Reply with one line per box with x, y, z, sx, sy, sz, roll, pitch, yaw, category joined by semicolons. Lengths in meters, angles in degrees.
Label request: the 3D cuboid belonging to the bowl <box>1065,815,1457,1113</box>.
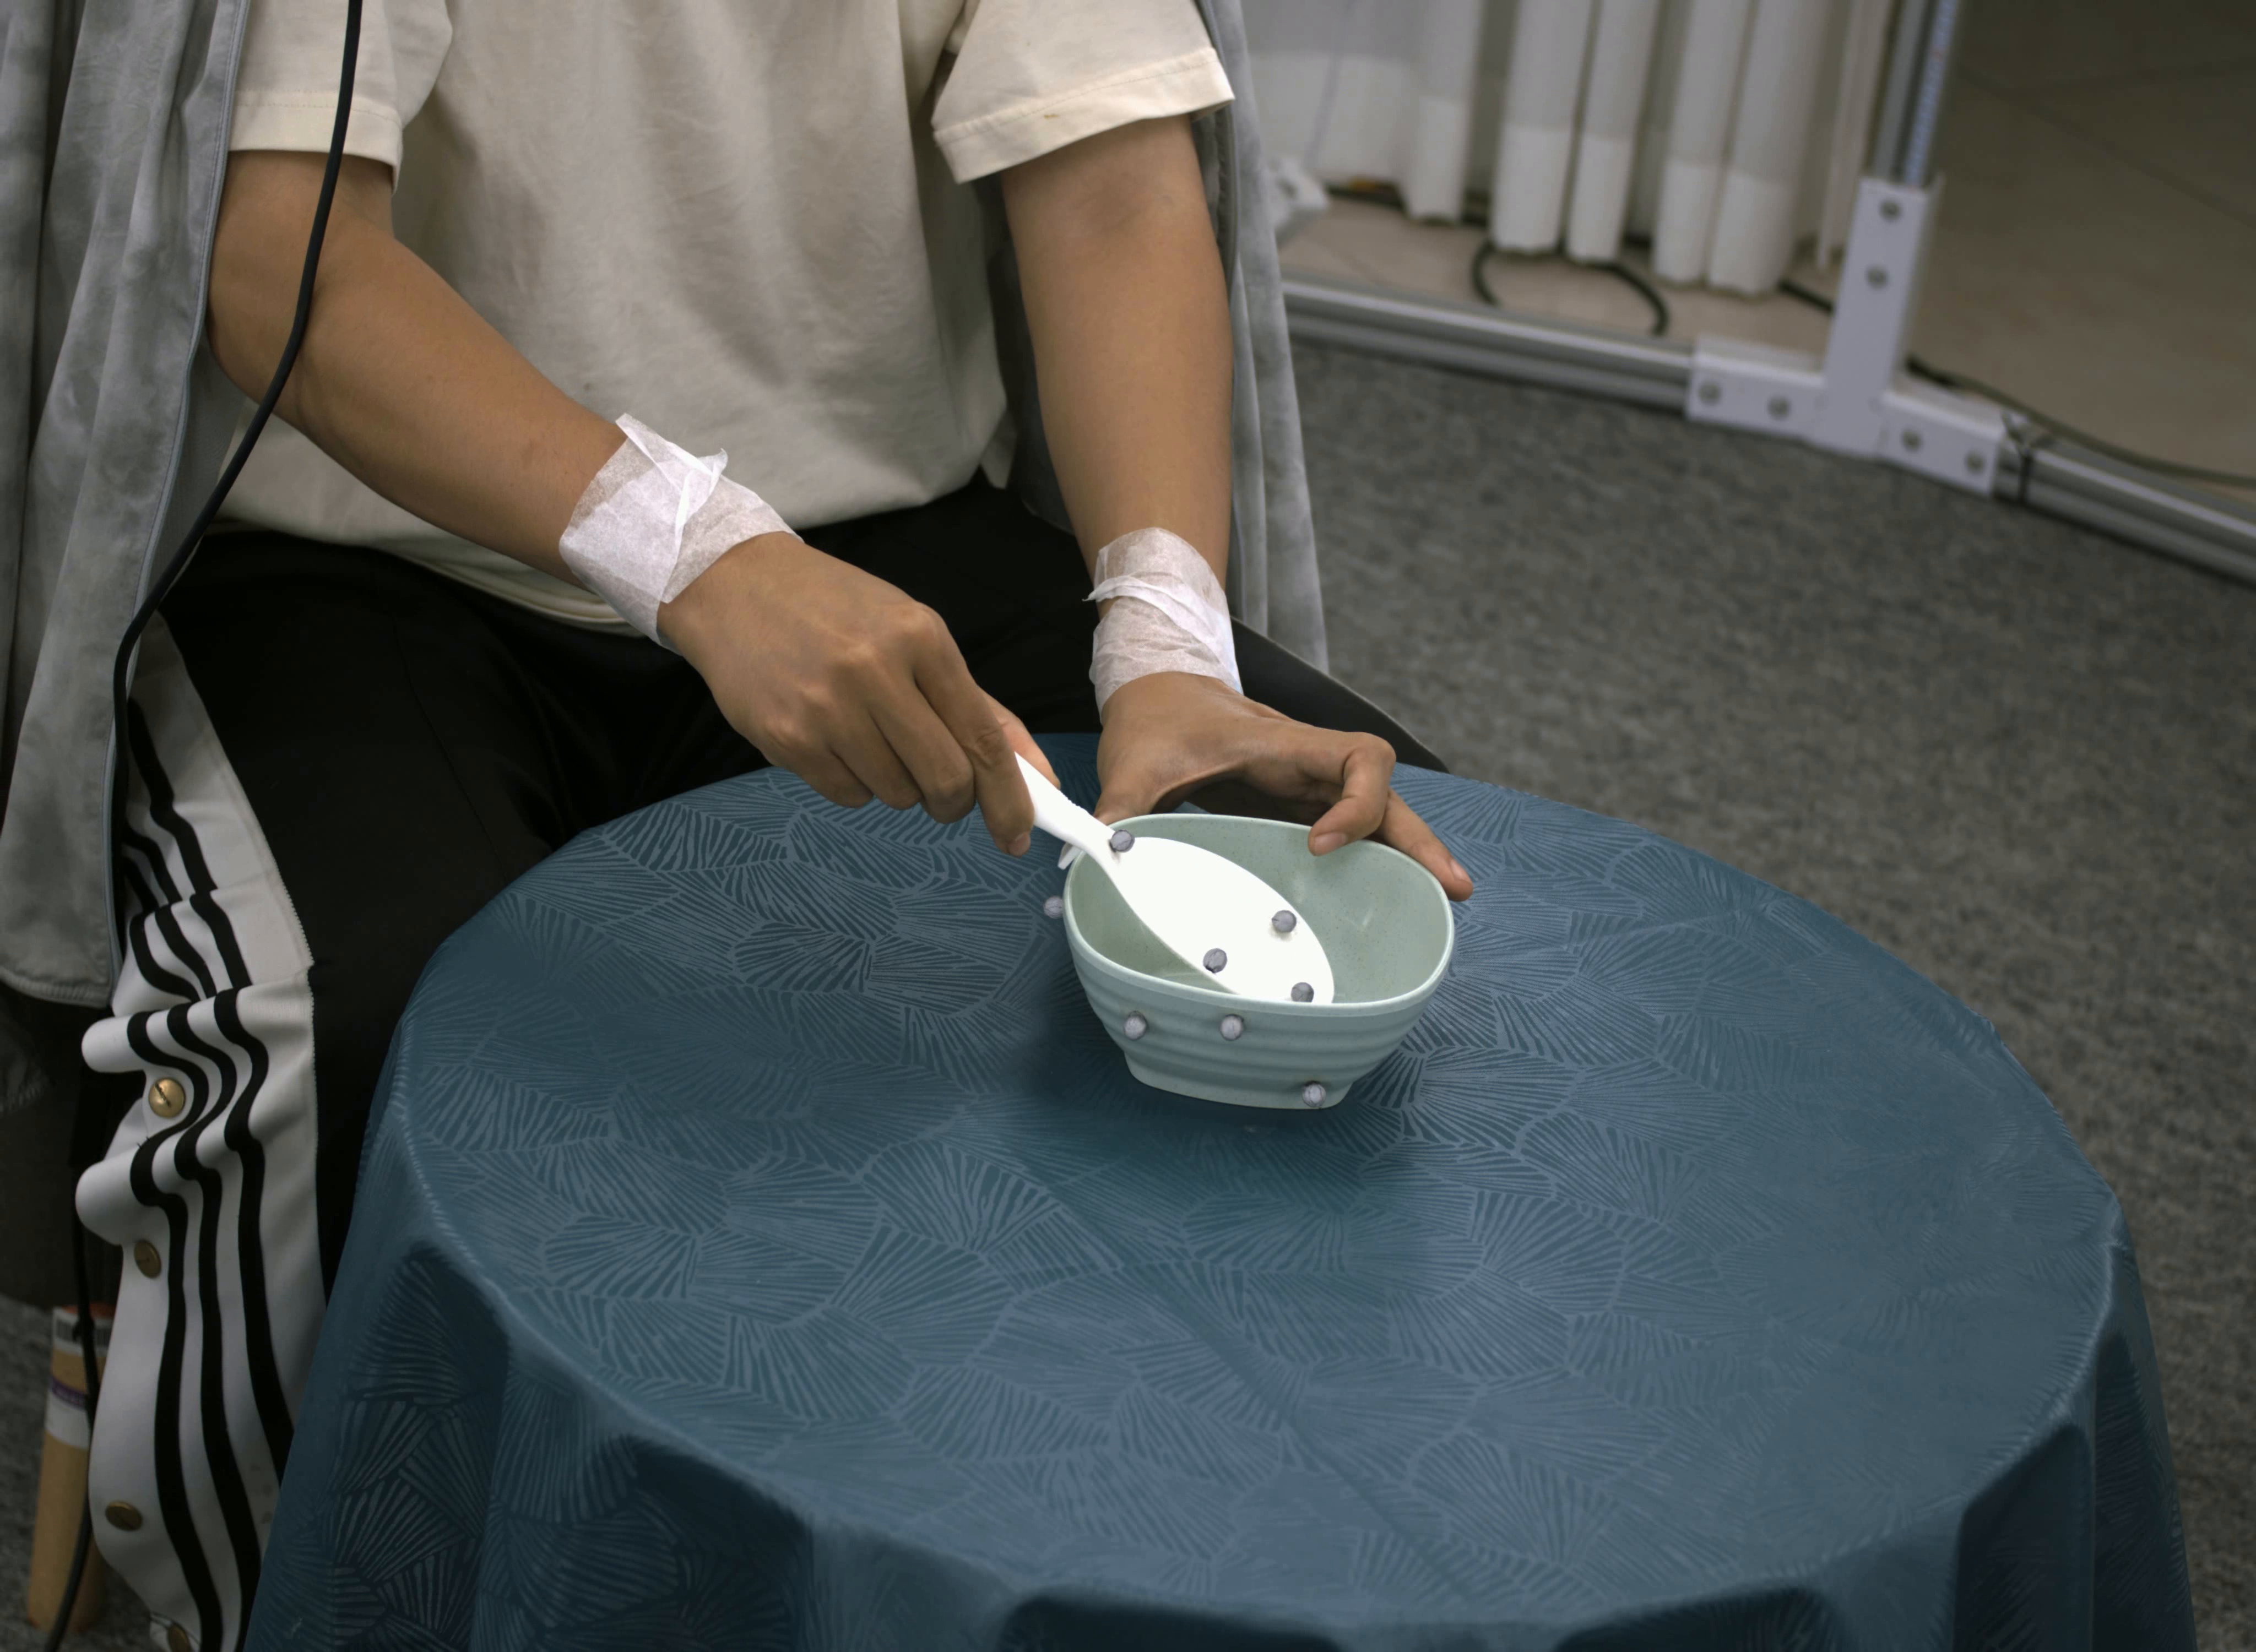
0.045;0.055;1.890;0.151;0.058;0.152;4;28;-2;bowl

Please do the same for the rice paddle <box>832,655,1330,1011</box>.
-0.011;0.005;1.875;0.204;0.029;0.069;32;35;-12;rice paddle
